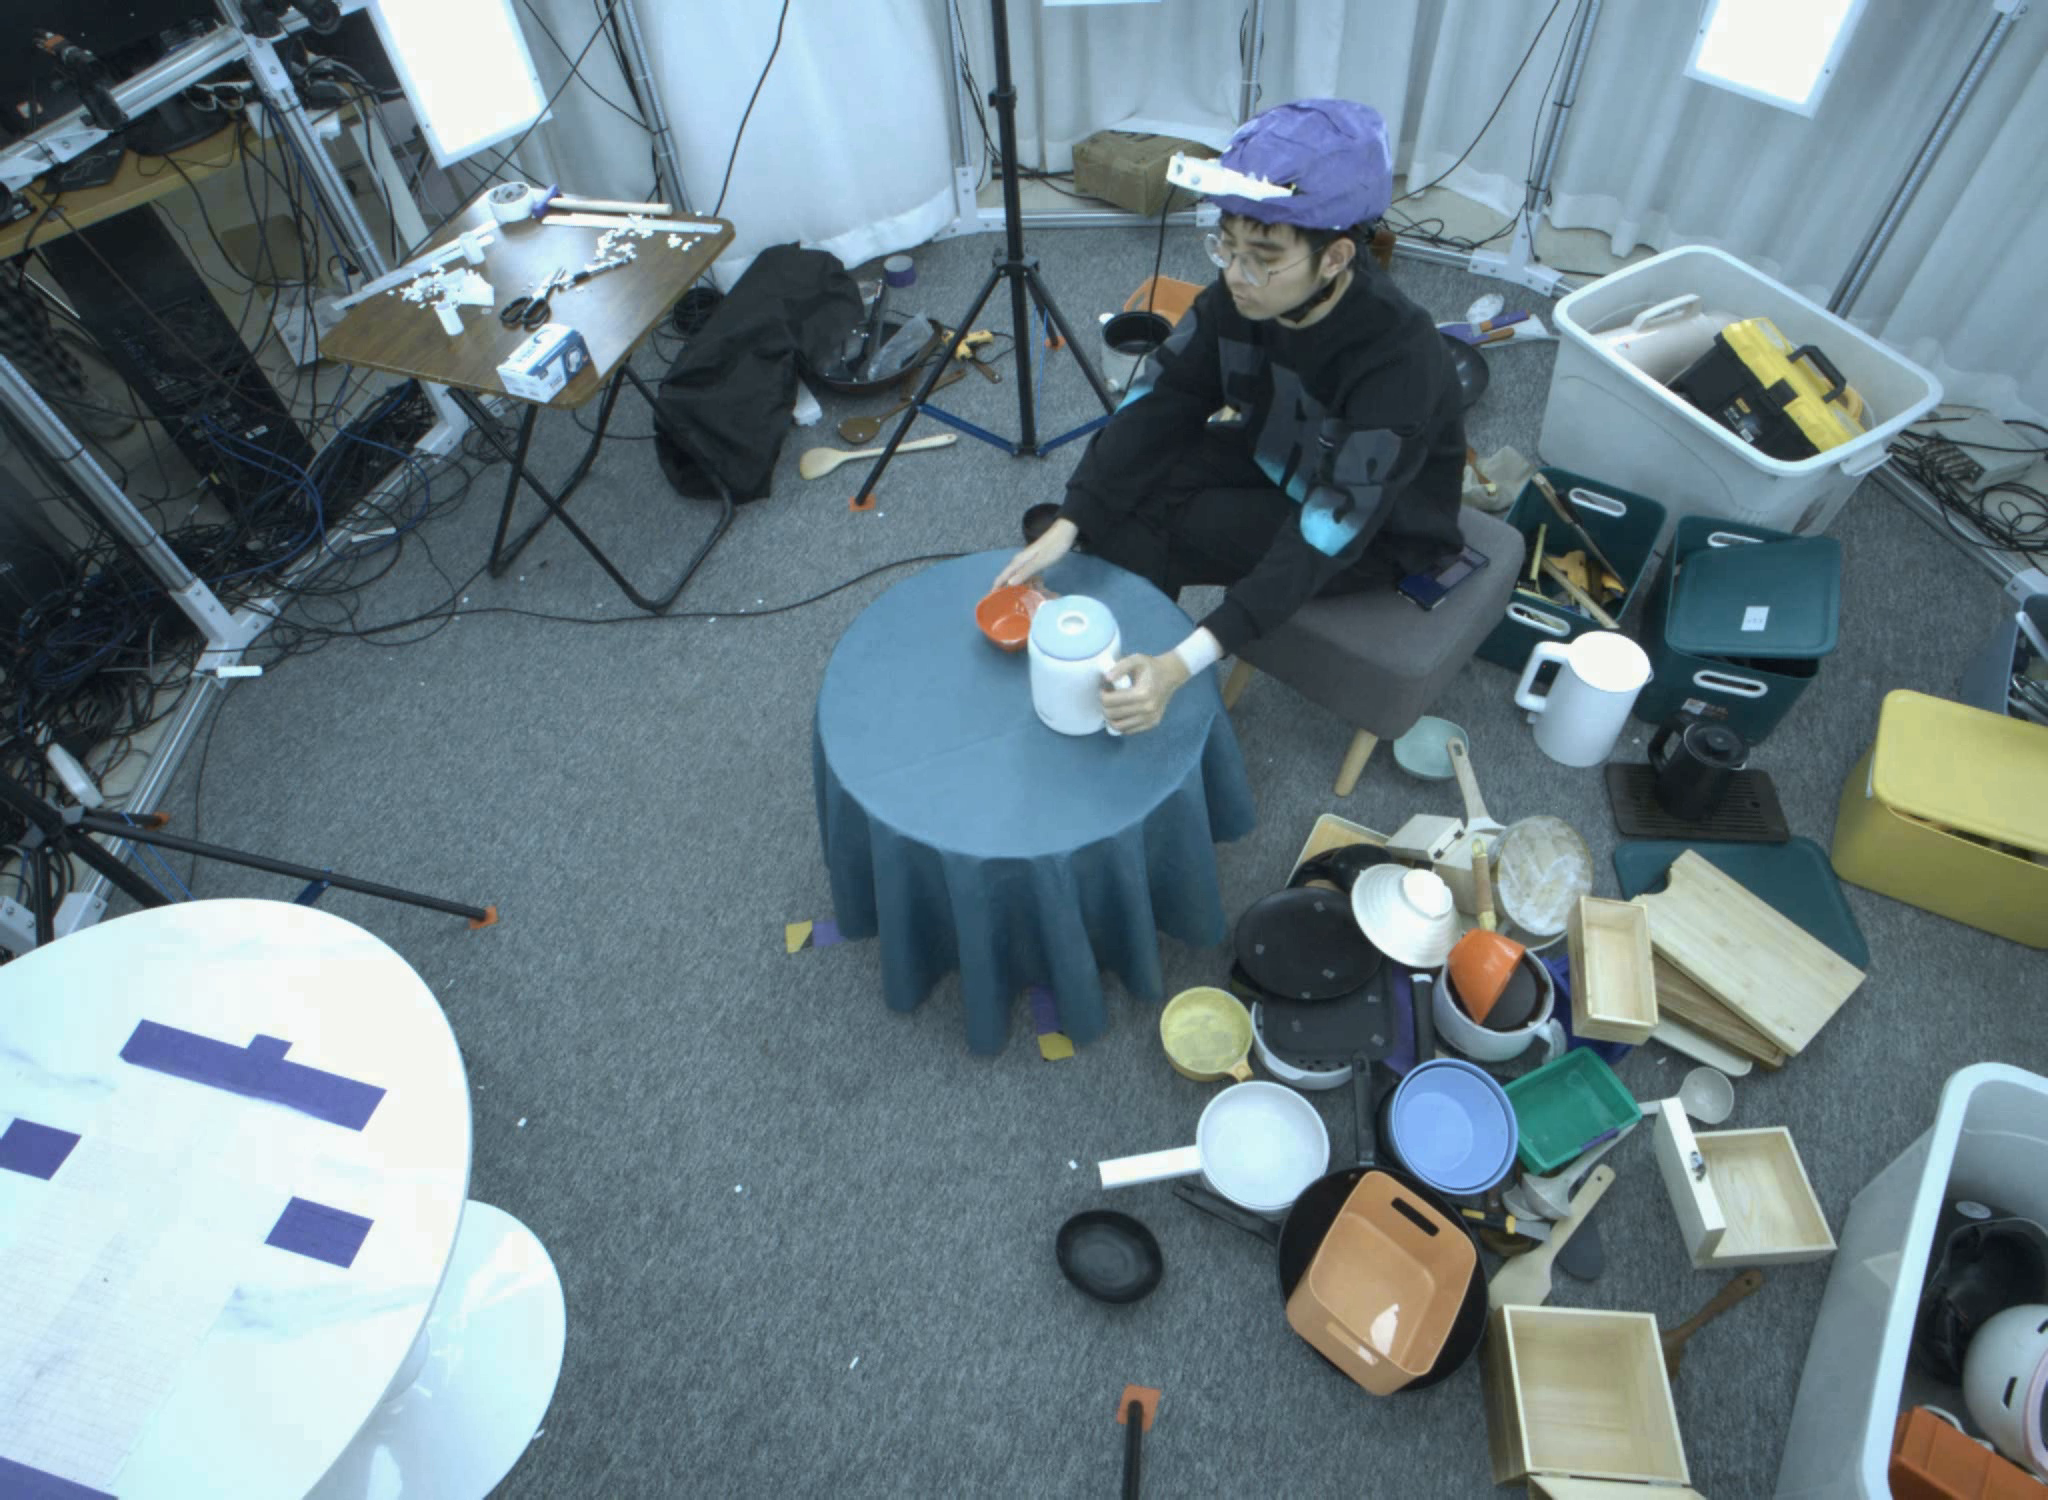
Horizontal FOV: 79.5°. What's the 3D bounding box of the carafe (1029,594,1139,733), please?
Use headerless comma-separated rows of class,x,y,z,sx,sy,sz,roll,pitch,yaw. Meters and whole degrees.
carafe,0.091,-0.108,1.752,0.133,0.184,0.188,-39,64,-21

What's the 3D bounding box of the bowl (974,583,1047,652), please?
bowl,-0.015,-0.197,1.890,0.118,0.052,0.117,-2,54,5
